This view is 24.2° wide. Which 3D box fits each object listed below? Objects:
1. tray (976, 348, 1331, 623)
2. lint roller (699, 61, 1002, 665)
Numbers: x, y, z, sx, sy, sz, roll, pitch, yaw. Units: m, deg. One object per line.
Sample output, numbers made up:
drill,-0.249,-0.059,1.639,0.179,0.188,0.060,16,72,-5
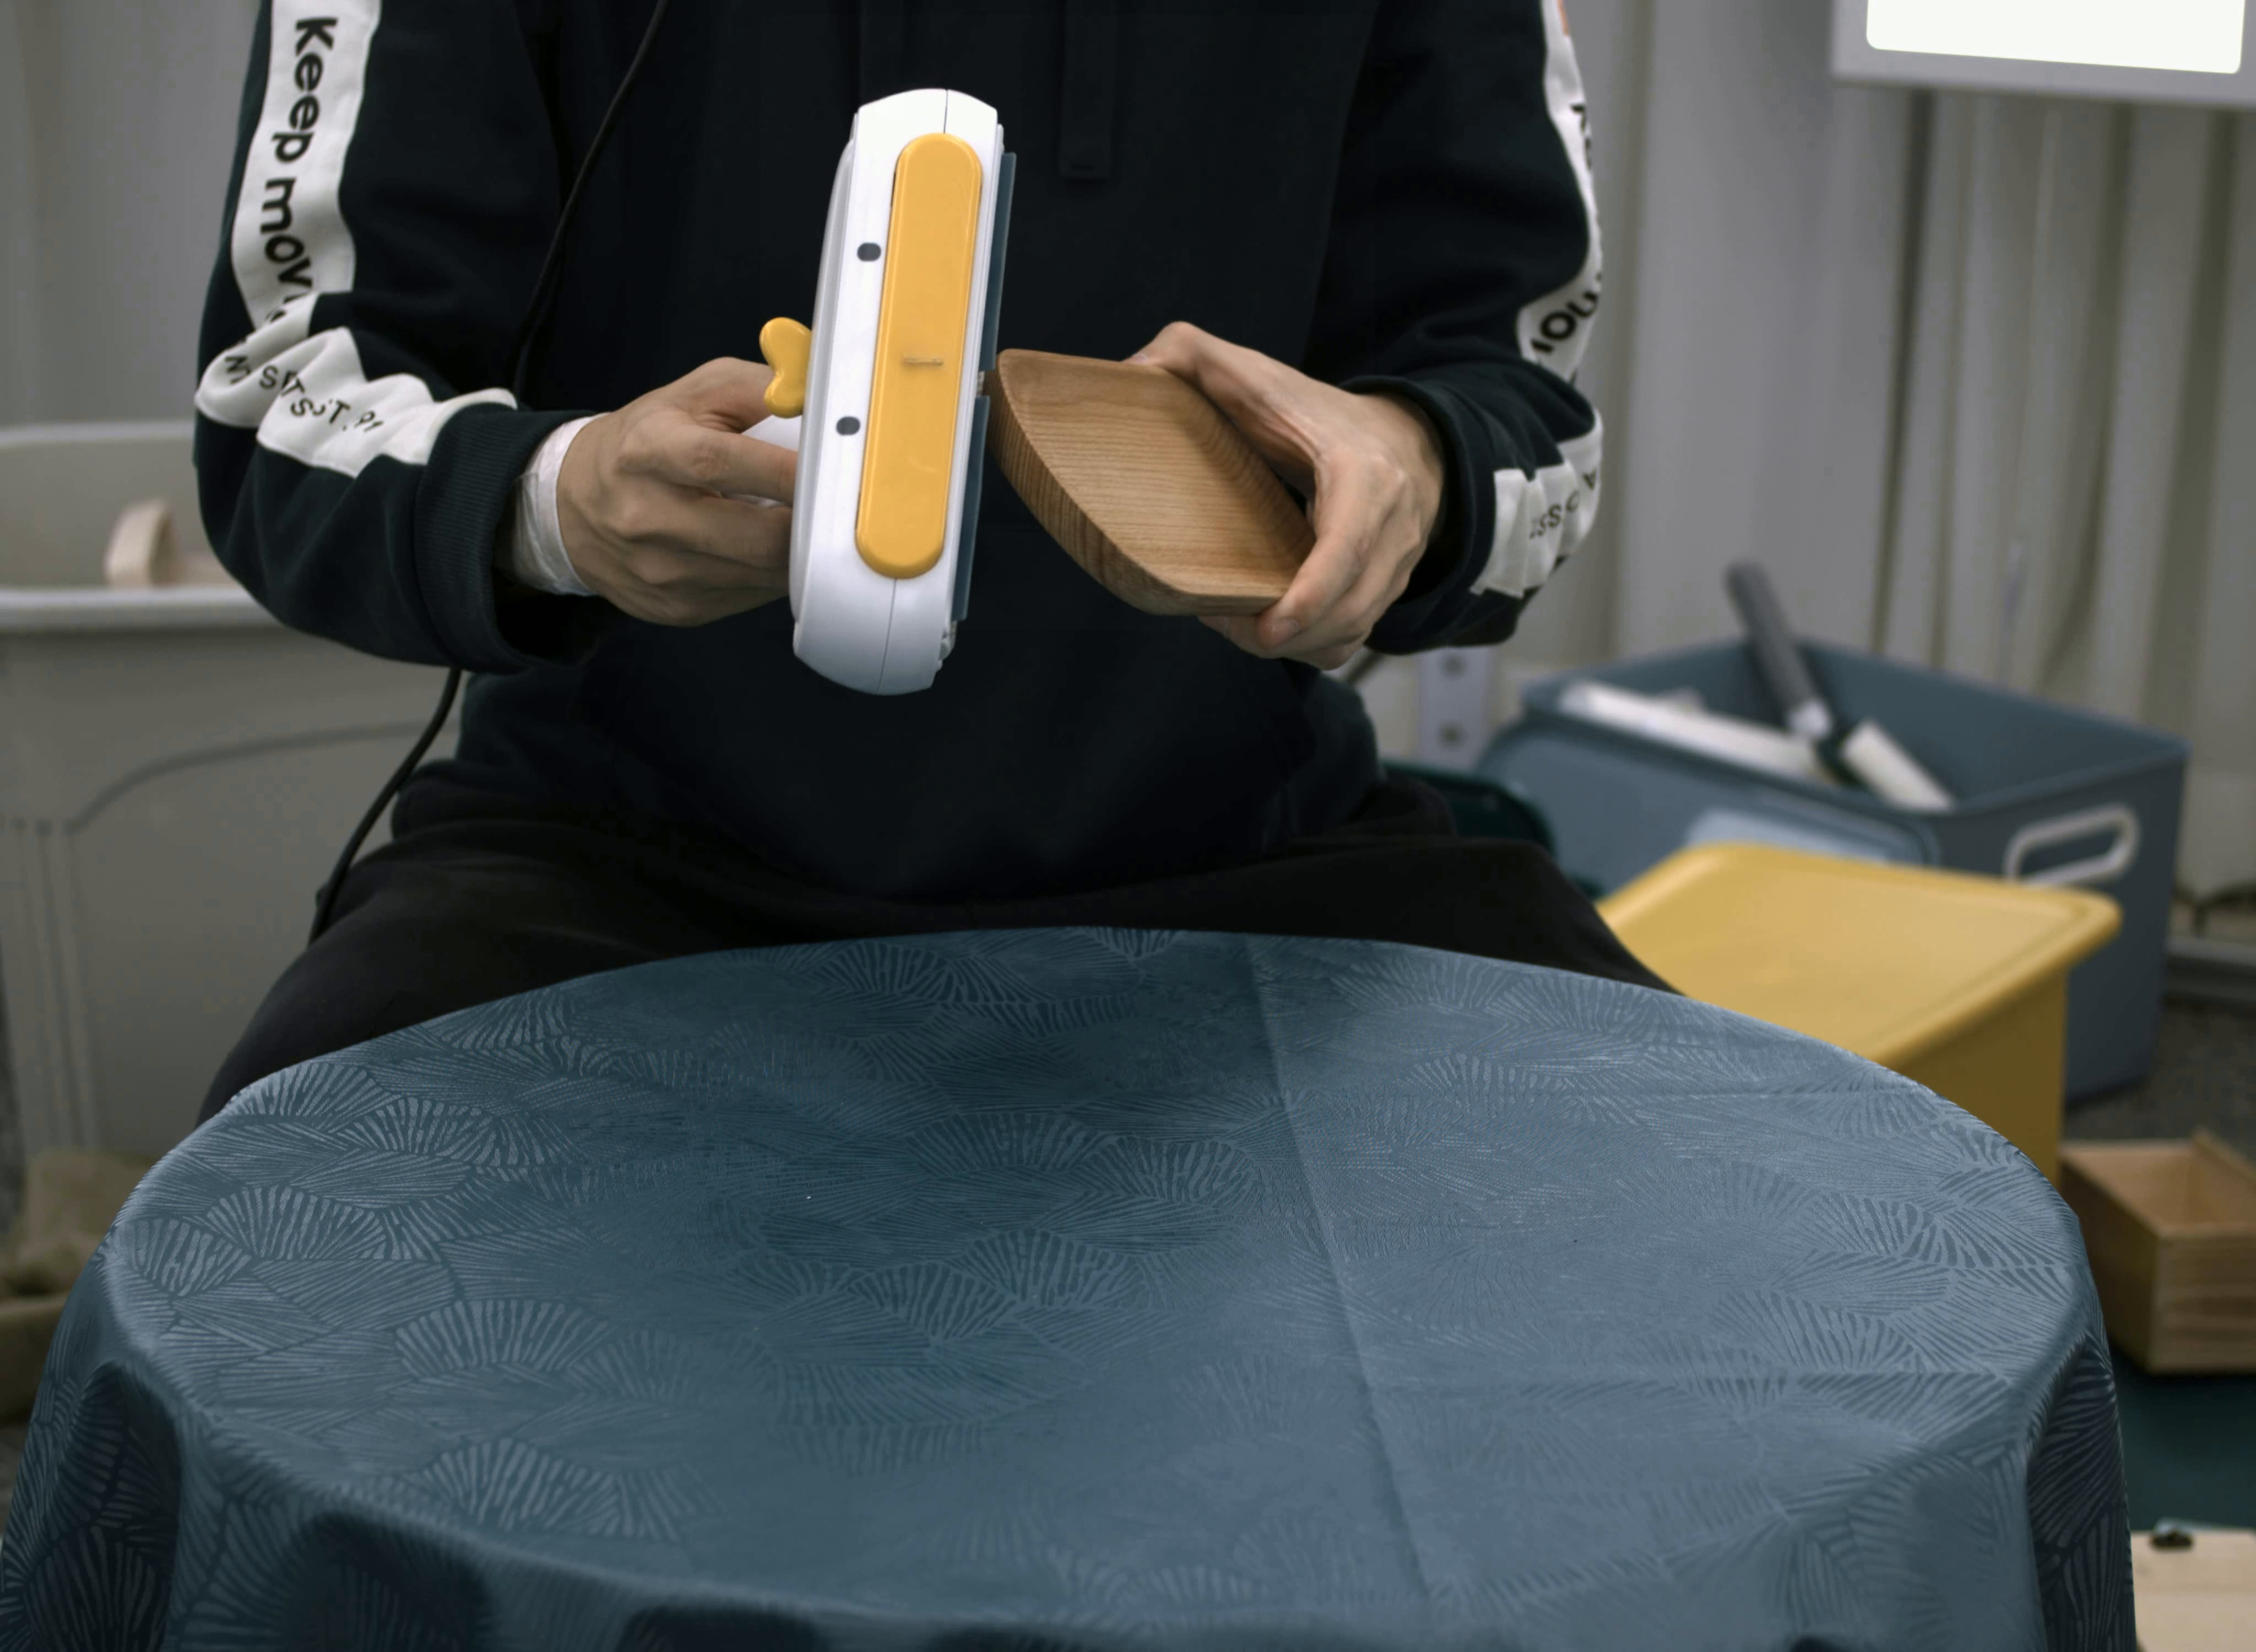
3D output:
tray,0.010,-0.108,1.717,0.020,0.101,0.232,-39,-10,17
lint roller,-0.092,-0.125,1.681,0.074,0.192,0.192,4,-20,-14
